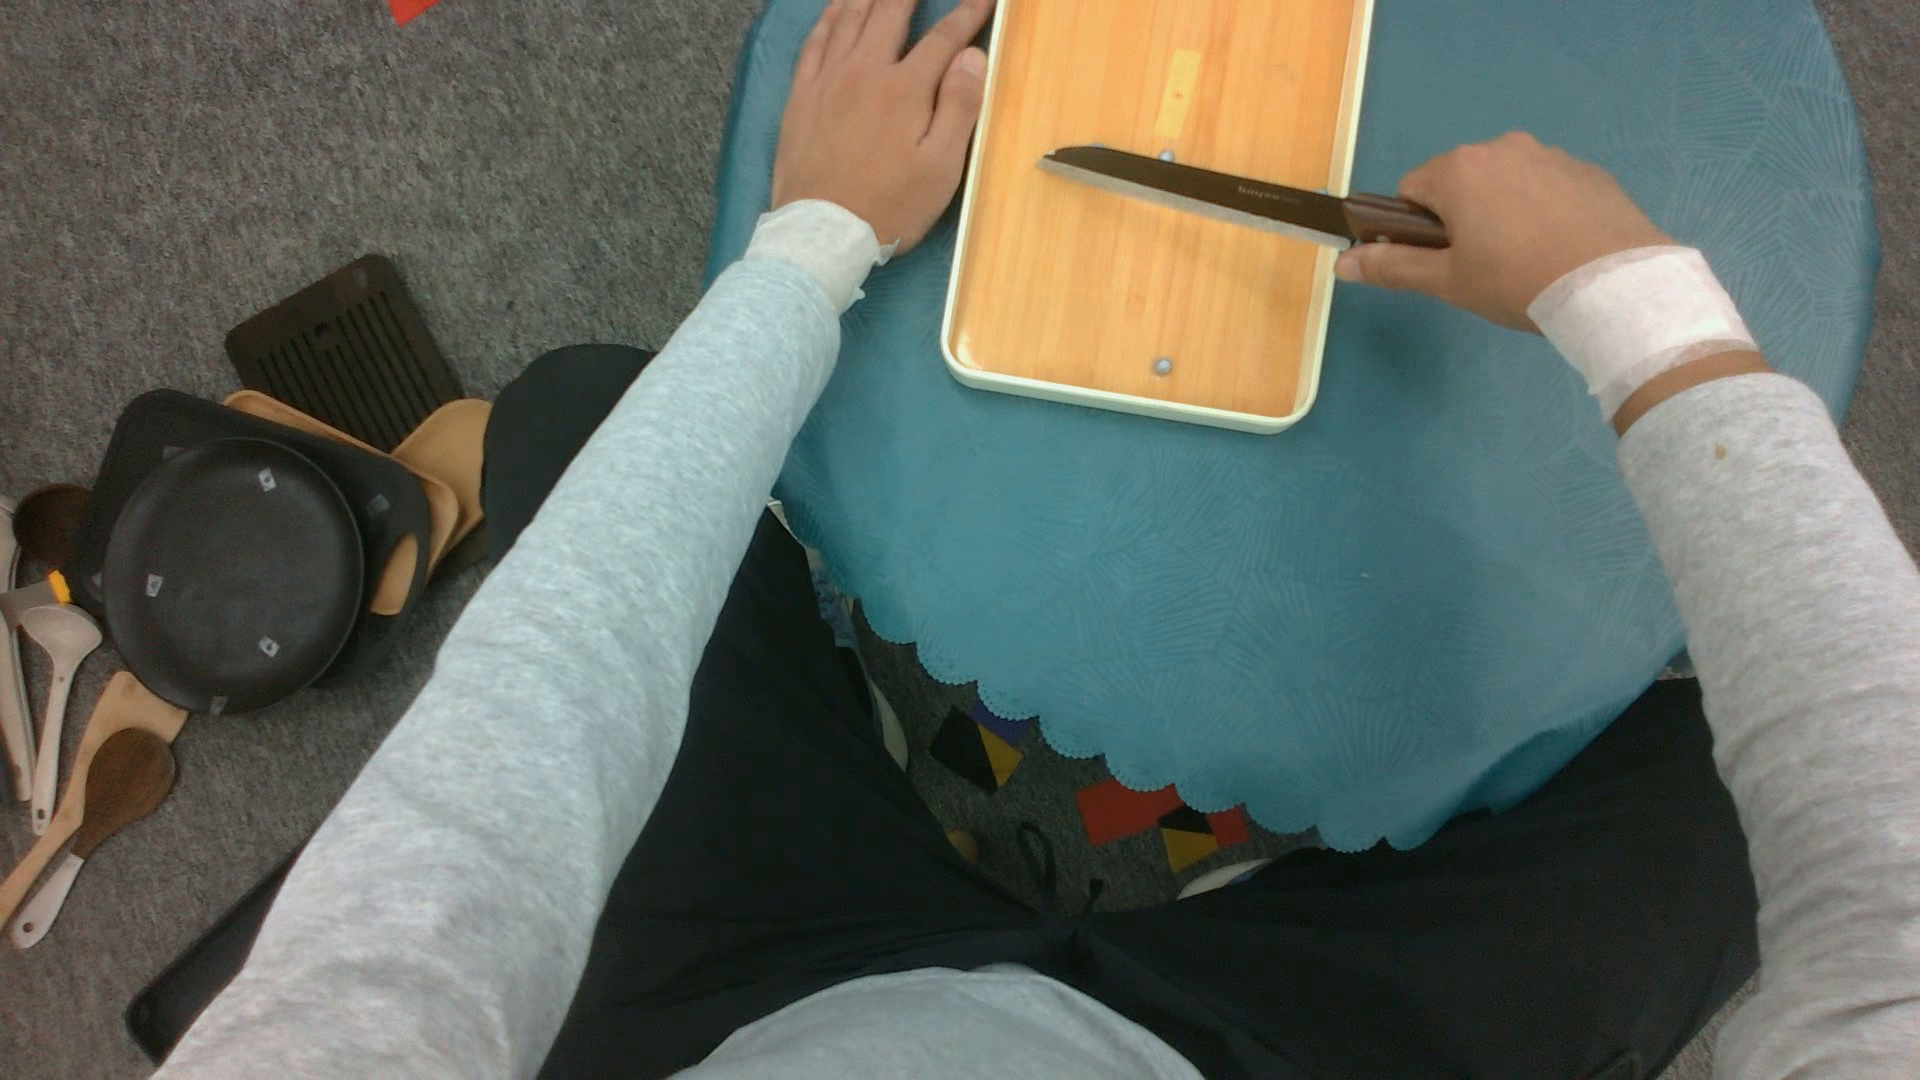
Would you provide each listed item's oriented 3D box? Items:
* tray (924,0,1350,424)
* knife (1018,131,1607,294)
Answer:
[{"bbox_3d":[0.097,-0.218,0.717,0.191,0.027,0.300,9,82,2],"label":"tray"},{"bbox_3d":[0.158,-0.161,0.665,0.289,0.050,0.020,18,75,21],"label":"knife"}]
